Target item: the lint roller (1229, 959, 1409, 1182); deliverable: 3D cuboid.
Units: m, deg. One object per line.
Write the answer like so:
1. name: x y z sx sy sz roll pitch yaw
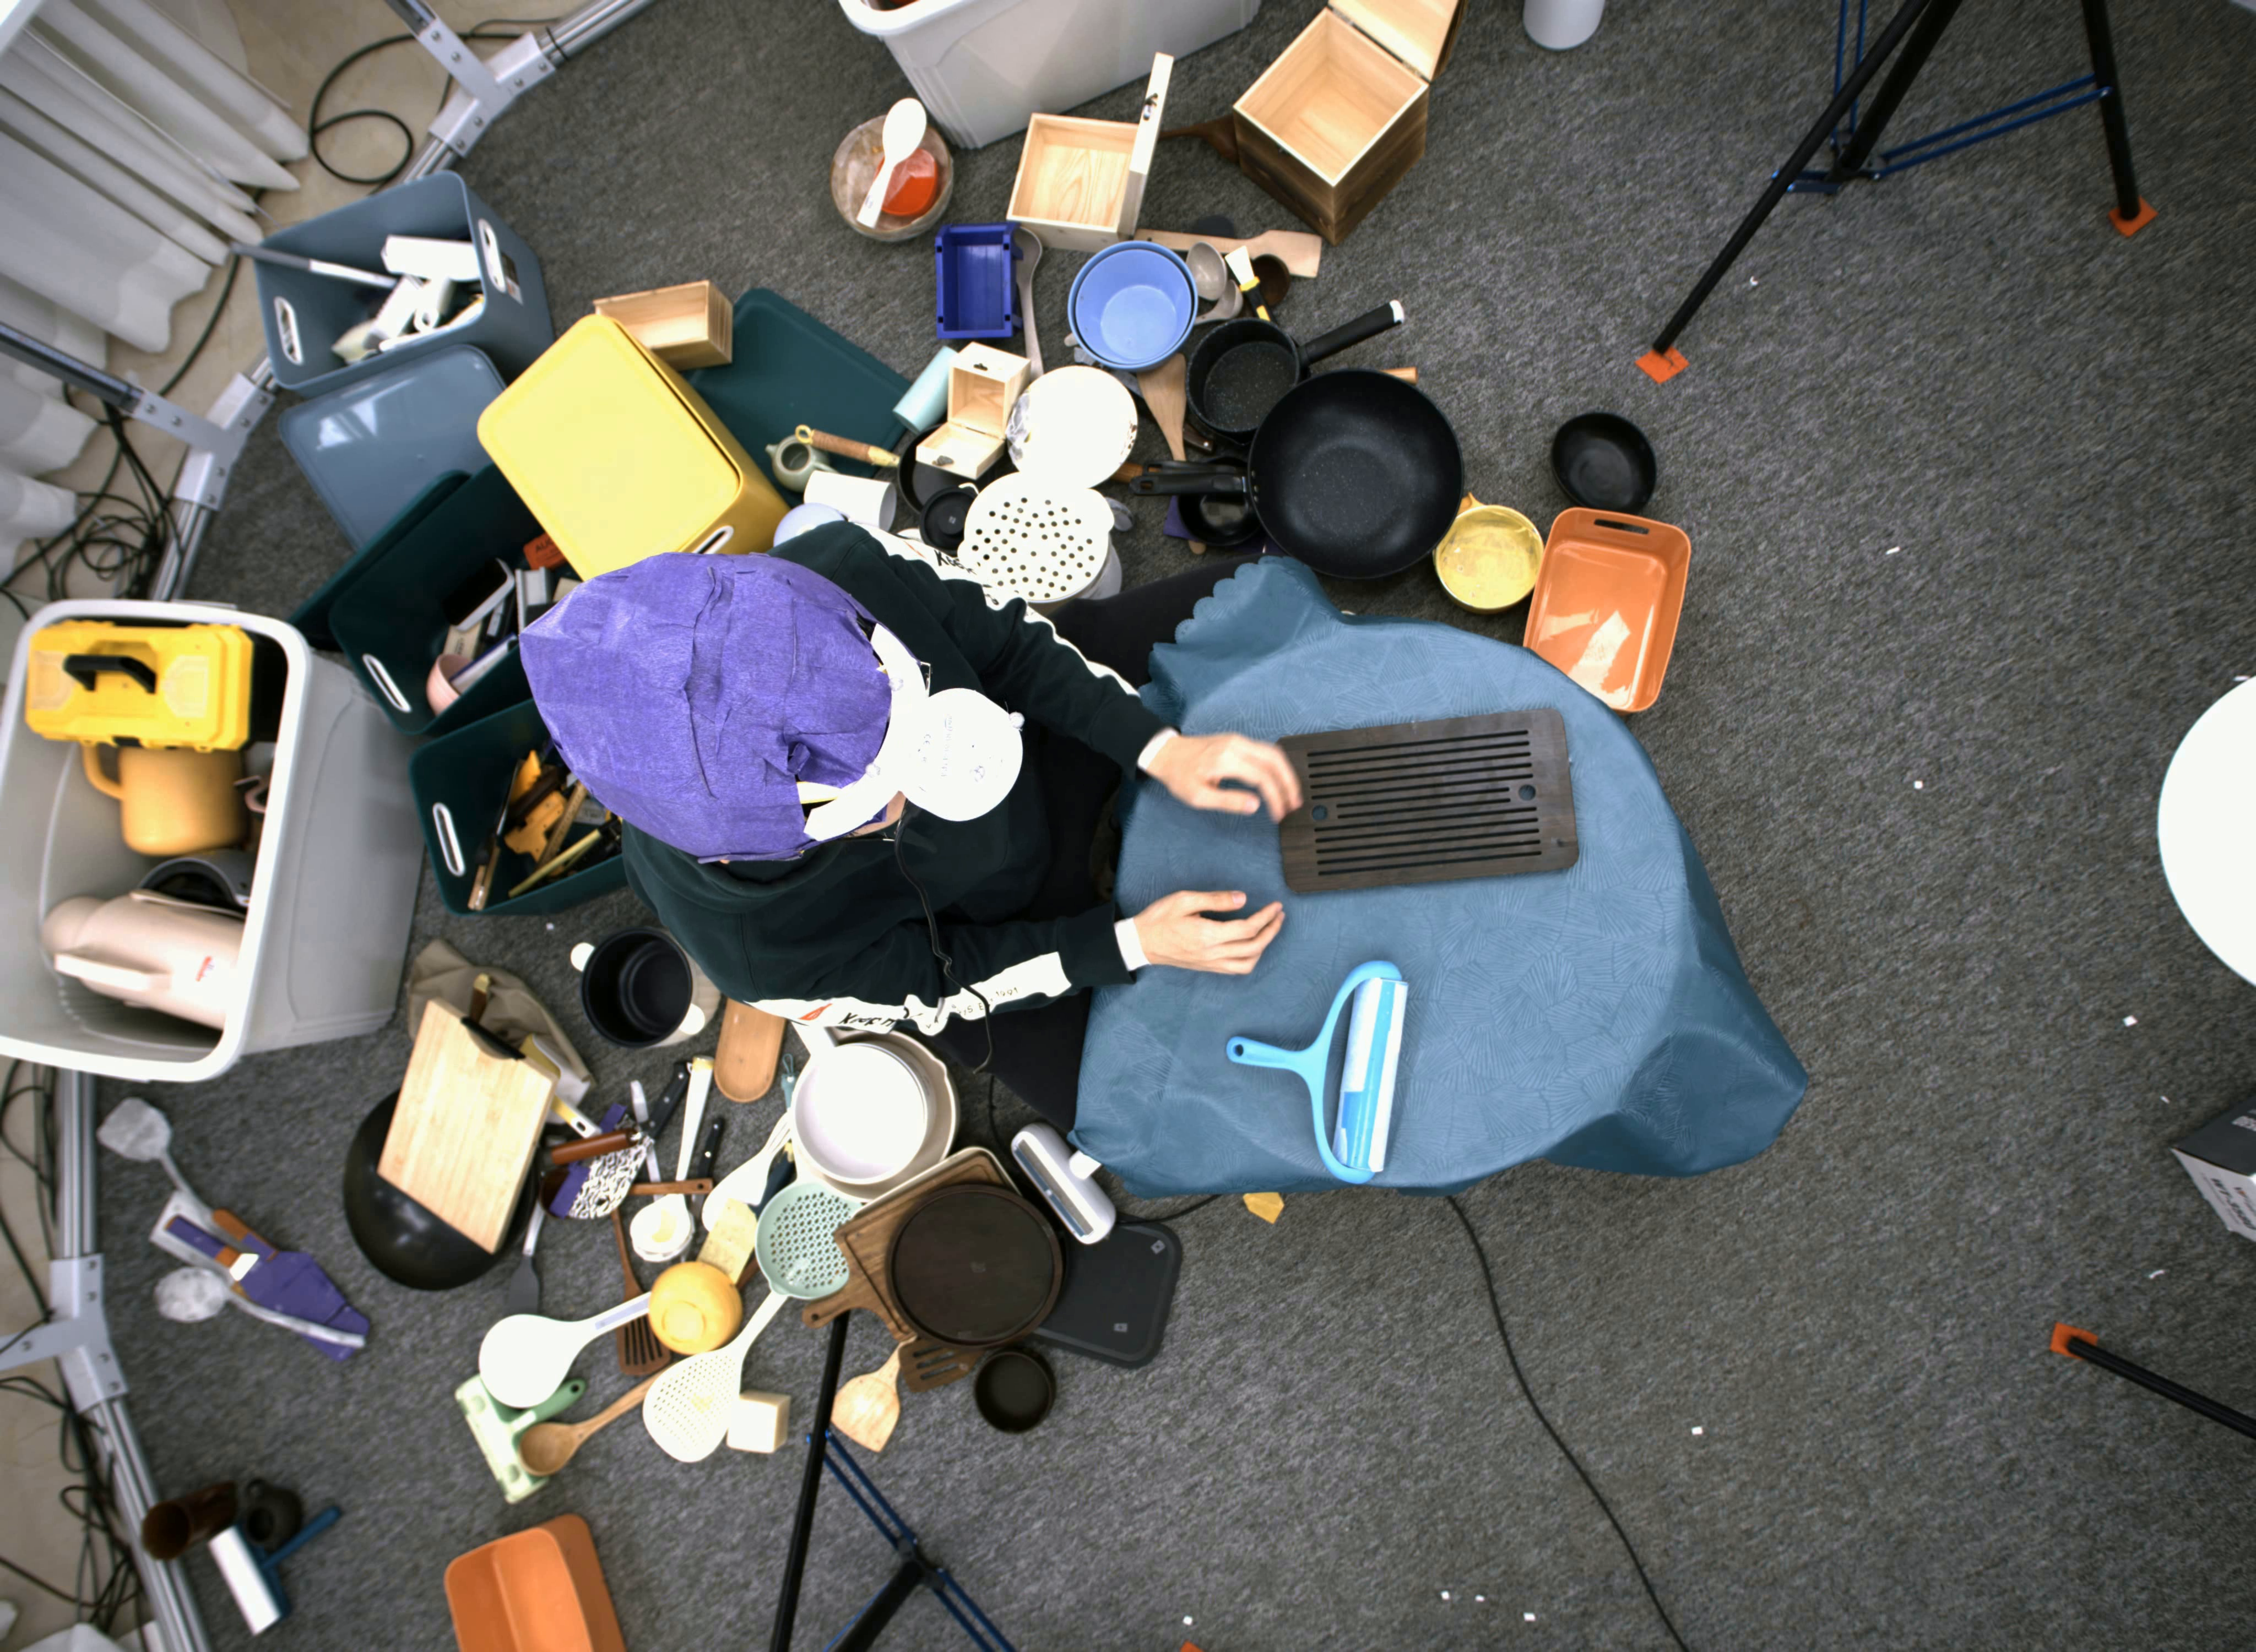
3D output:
1. lint roller: 0.191 0.245 1.432 0.181 0.068 0.228 5 90 9

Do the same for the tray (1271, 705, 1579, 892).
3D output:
1. tray: 0.309 -0.029 1.444 0.307 0.018 0.169 -6 86 10
